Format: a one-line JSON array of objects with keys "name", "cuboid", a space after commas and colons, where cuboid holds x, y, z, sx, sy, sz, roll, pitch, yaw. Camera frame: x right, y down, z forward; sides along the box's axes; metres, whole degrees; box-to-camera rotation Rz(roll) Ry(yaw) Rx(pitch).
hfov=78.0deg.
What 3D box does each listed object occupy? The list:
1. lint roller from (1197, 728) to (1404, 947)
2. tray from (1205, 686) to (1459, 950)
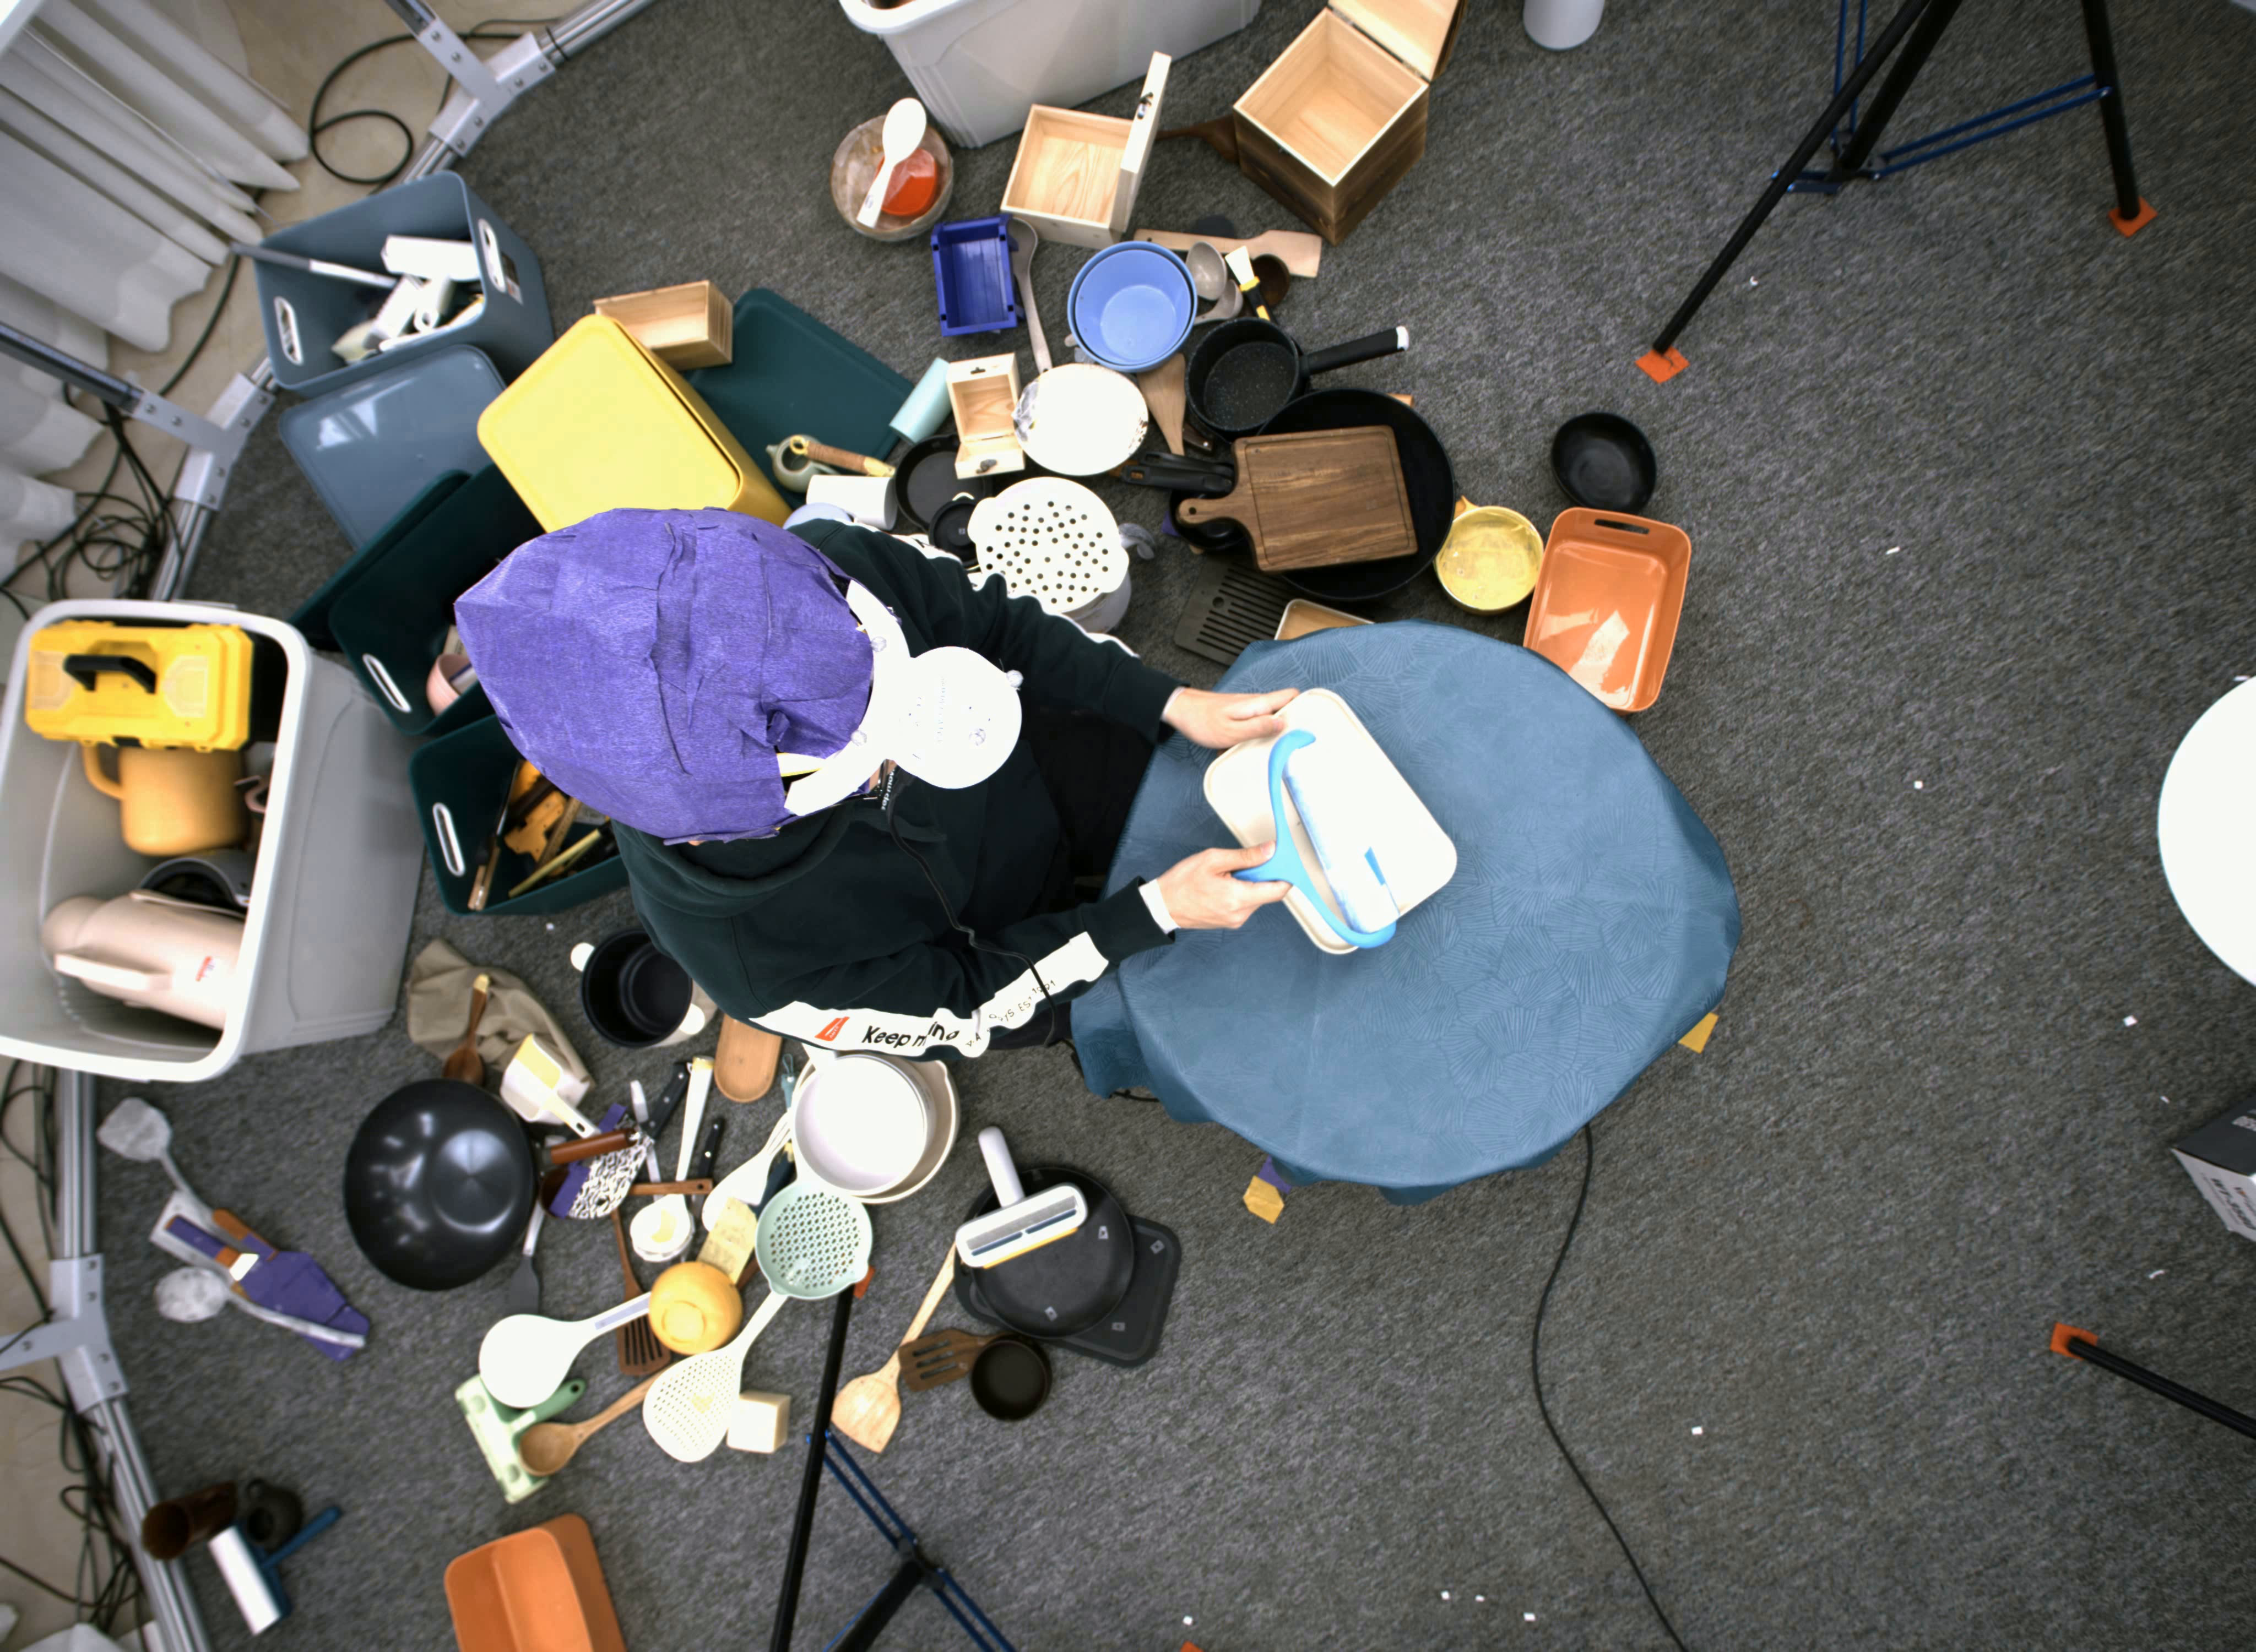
[{"name": "lint roller", "cuboid": [0.154, 0.037, 1.358, 0.181, 0.067, 0.230, -27, 97, 3]}, {"name": "tray", "cuboid": [0.204, -0.009, 1.390, 0.173, 0.017, 0.239, -37, 89, 12]}]
